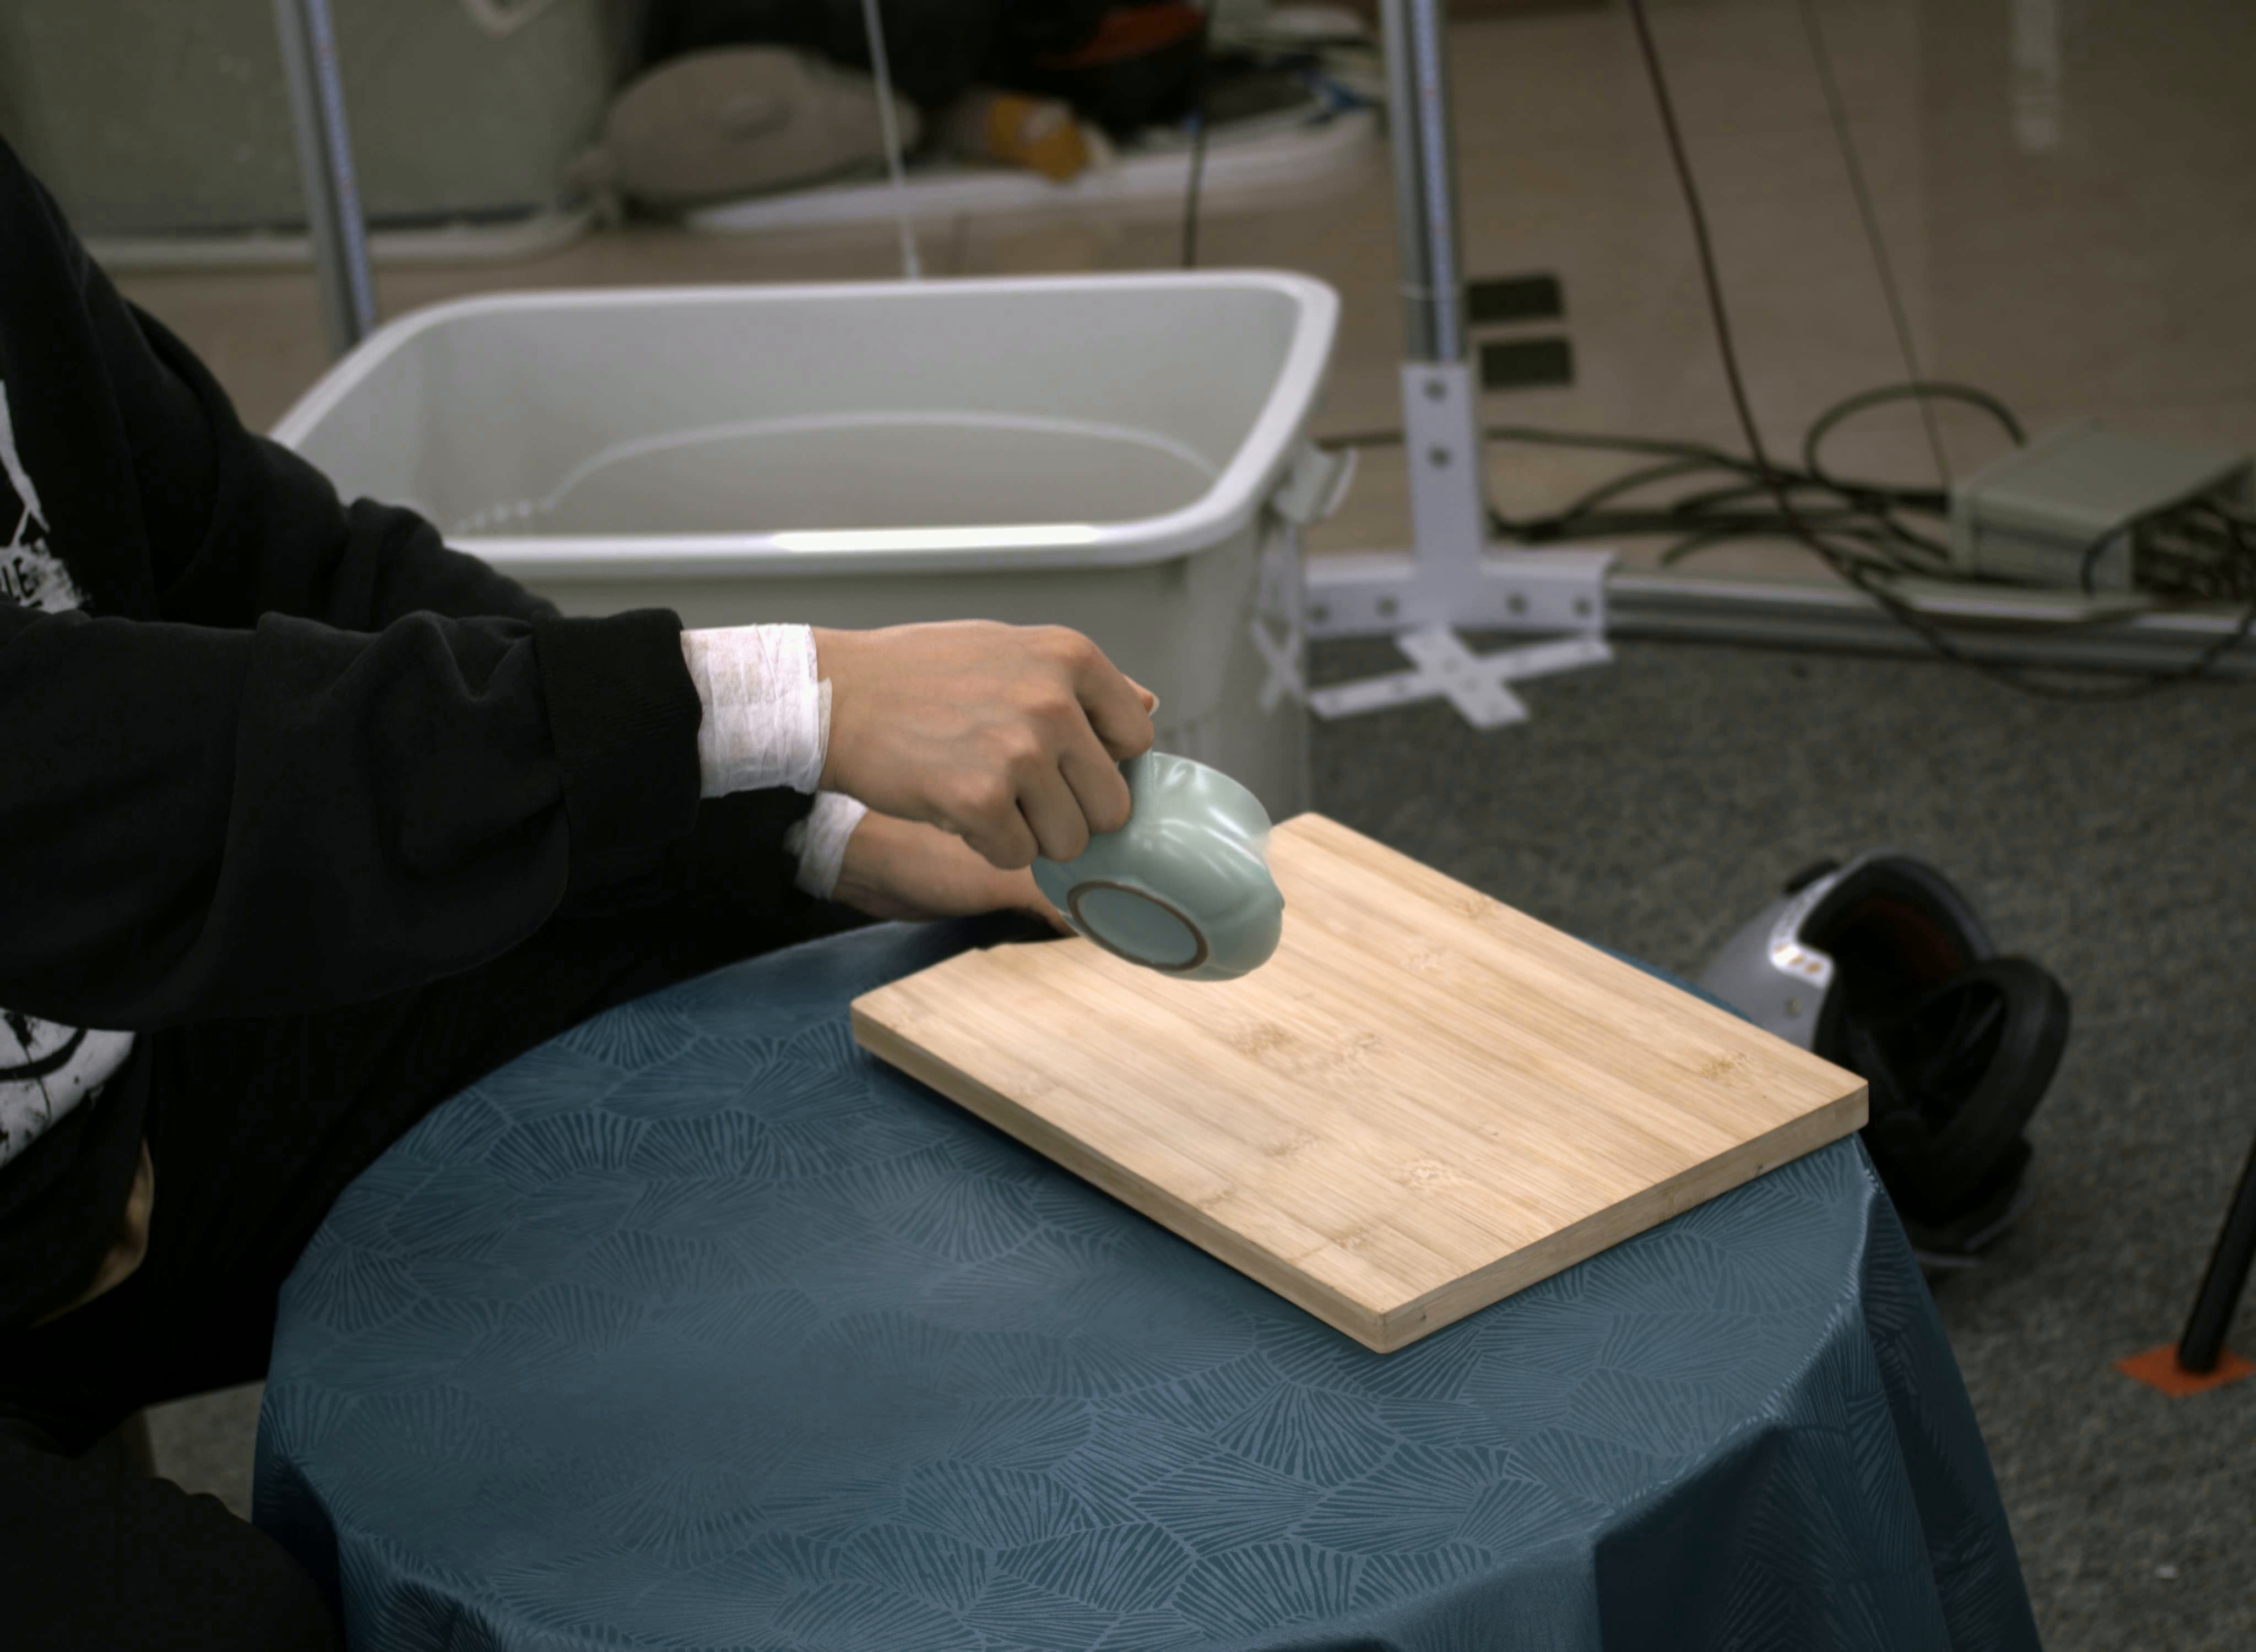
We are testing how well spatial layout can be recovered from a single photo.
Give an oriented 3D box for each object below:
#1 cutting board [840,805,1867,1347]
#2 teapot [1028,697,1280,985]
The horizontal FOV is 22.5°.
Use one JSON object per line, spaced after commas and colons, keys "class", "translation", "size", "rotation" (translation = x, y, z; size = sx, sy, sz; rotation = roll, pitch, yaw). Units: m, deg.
{"class": "cutting board", "translation": [0.081, 0.090, 2.204], "size": [0.249, 0.024, 0.345], "rotation": [-23, 31, -31]}
{"class": "teapot", "translation": [0.012, 0.012, 2.042], "size": [0.096, 0.139, 0.060], "rotation": [5, 57, 37]}
